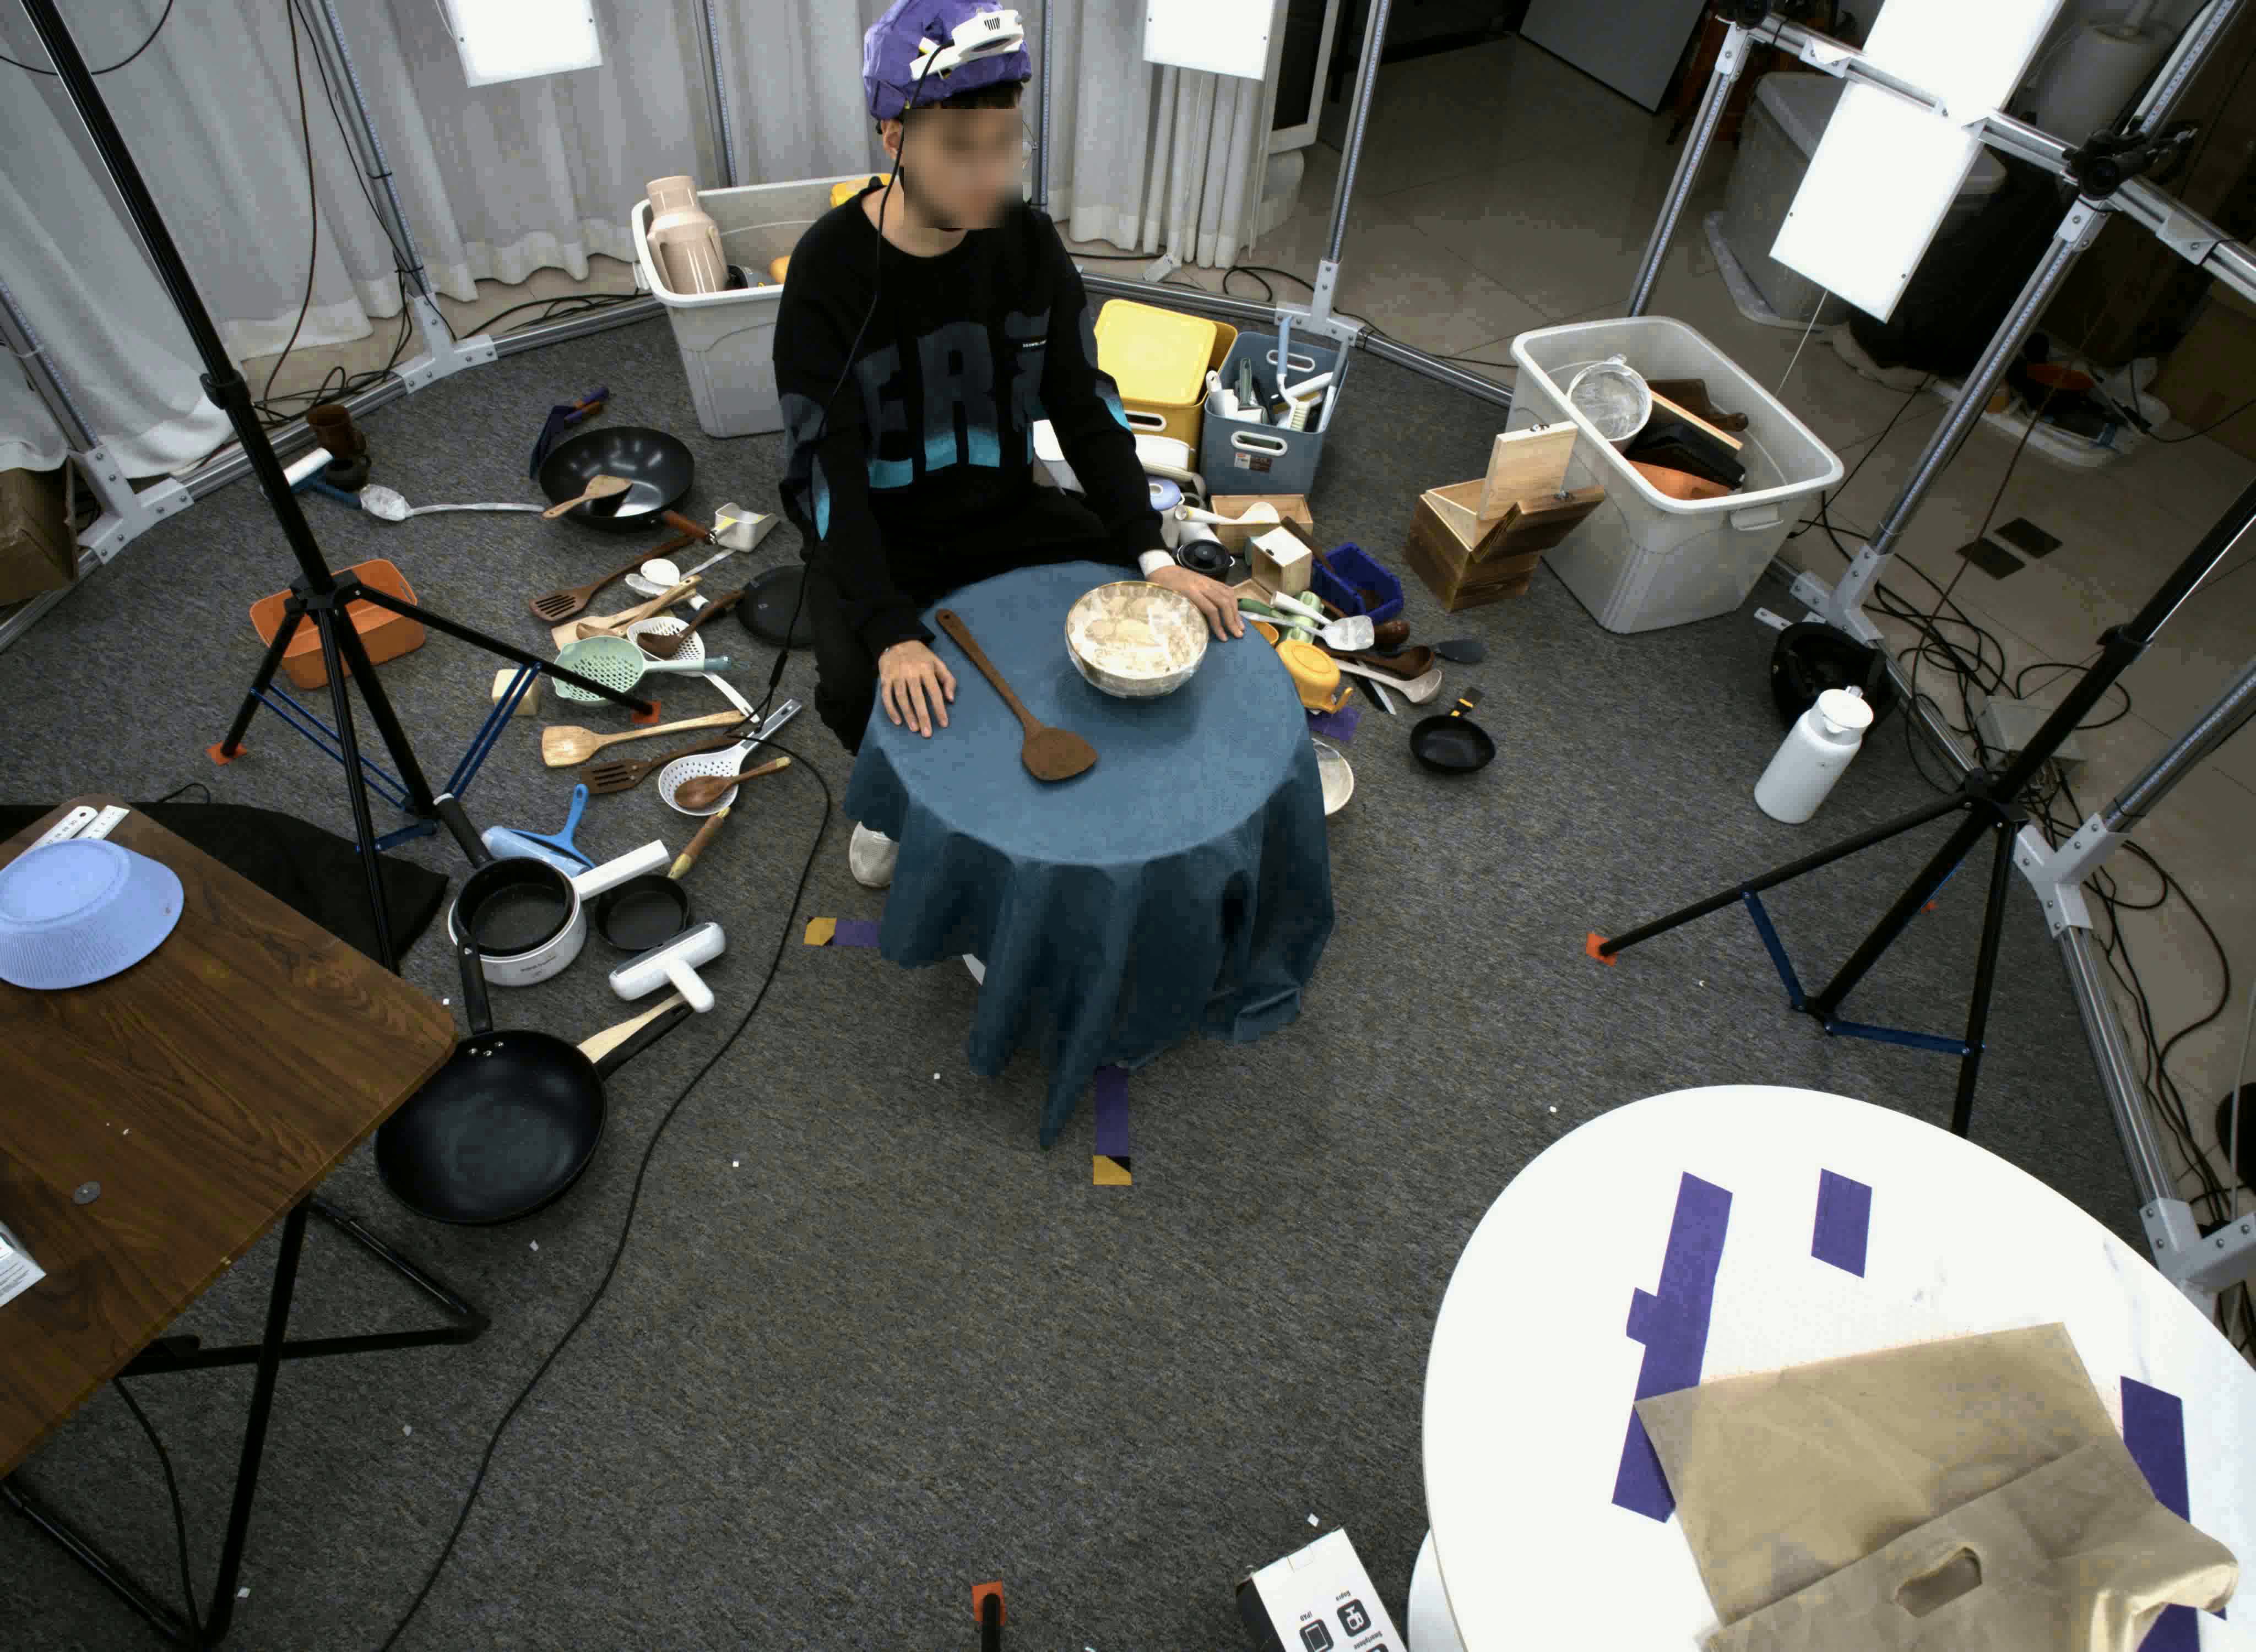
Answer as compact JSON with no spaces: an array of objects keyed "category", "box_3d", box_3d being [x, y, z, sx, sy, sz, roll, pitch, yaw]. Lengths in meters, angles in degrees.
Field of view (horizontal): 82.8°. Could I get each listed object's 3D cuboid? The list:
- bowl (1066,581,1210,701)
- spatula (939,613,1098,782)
[{"category":"bowl","box_3d":[0.014,-0.251,1.843,0.214,0.092,0.220,1,49,-1]},{"category":"spatula","box_3d":[-0.175,-0.194,1.832,0.096,0.015,0.394,-23,54,-23]}]
